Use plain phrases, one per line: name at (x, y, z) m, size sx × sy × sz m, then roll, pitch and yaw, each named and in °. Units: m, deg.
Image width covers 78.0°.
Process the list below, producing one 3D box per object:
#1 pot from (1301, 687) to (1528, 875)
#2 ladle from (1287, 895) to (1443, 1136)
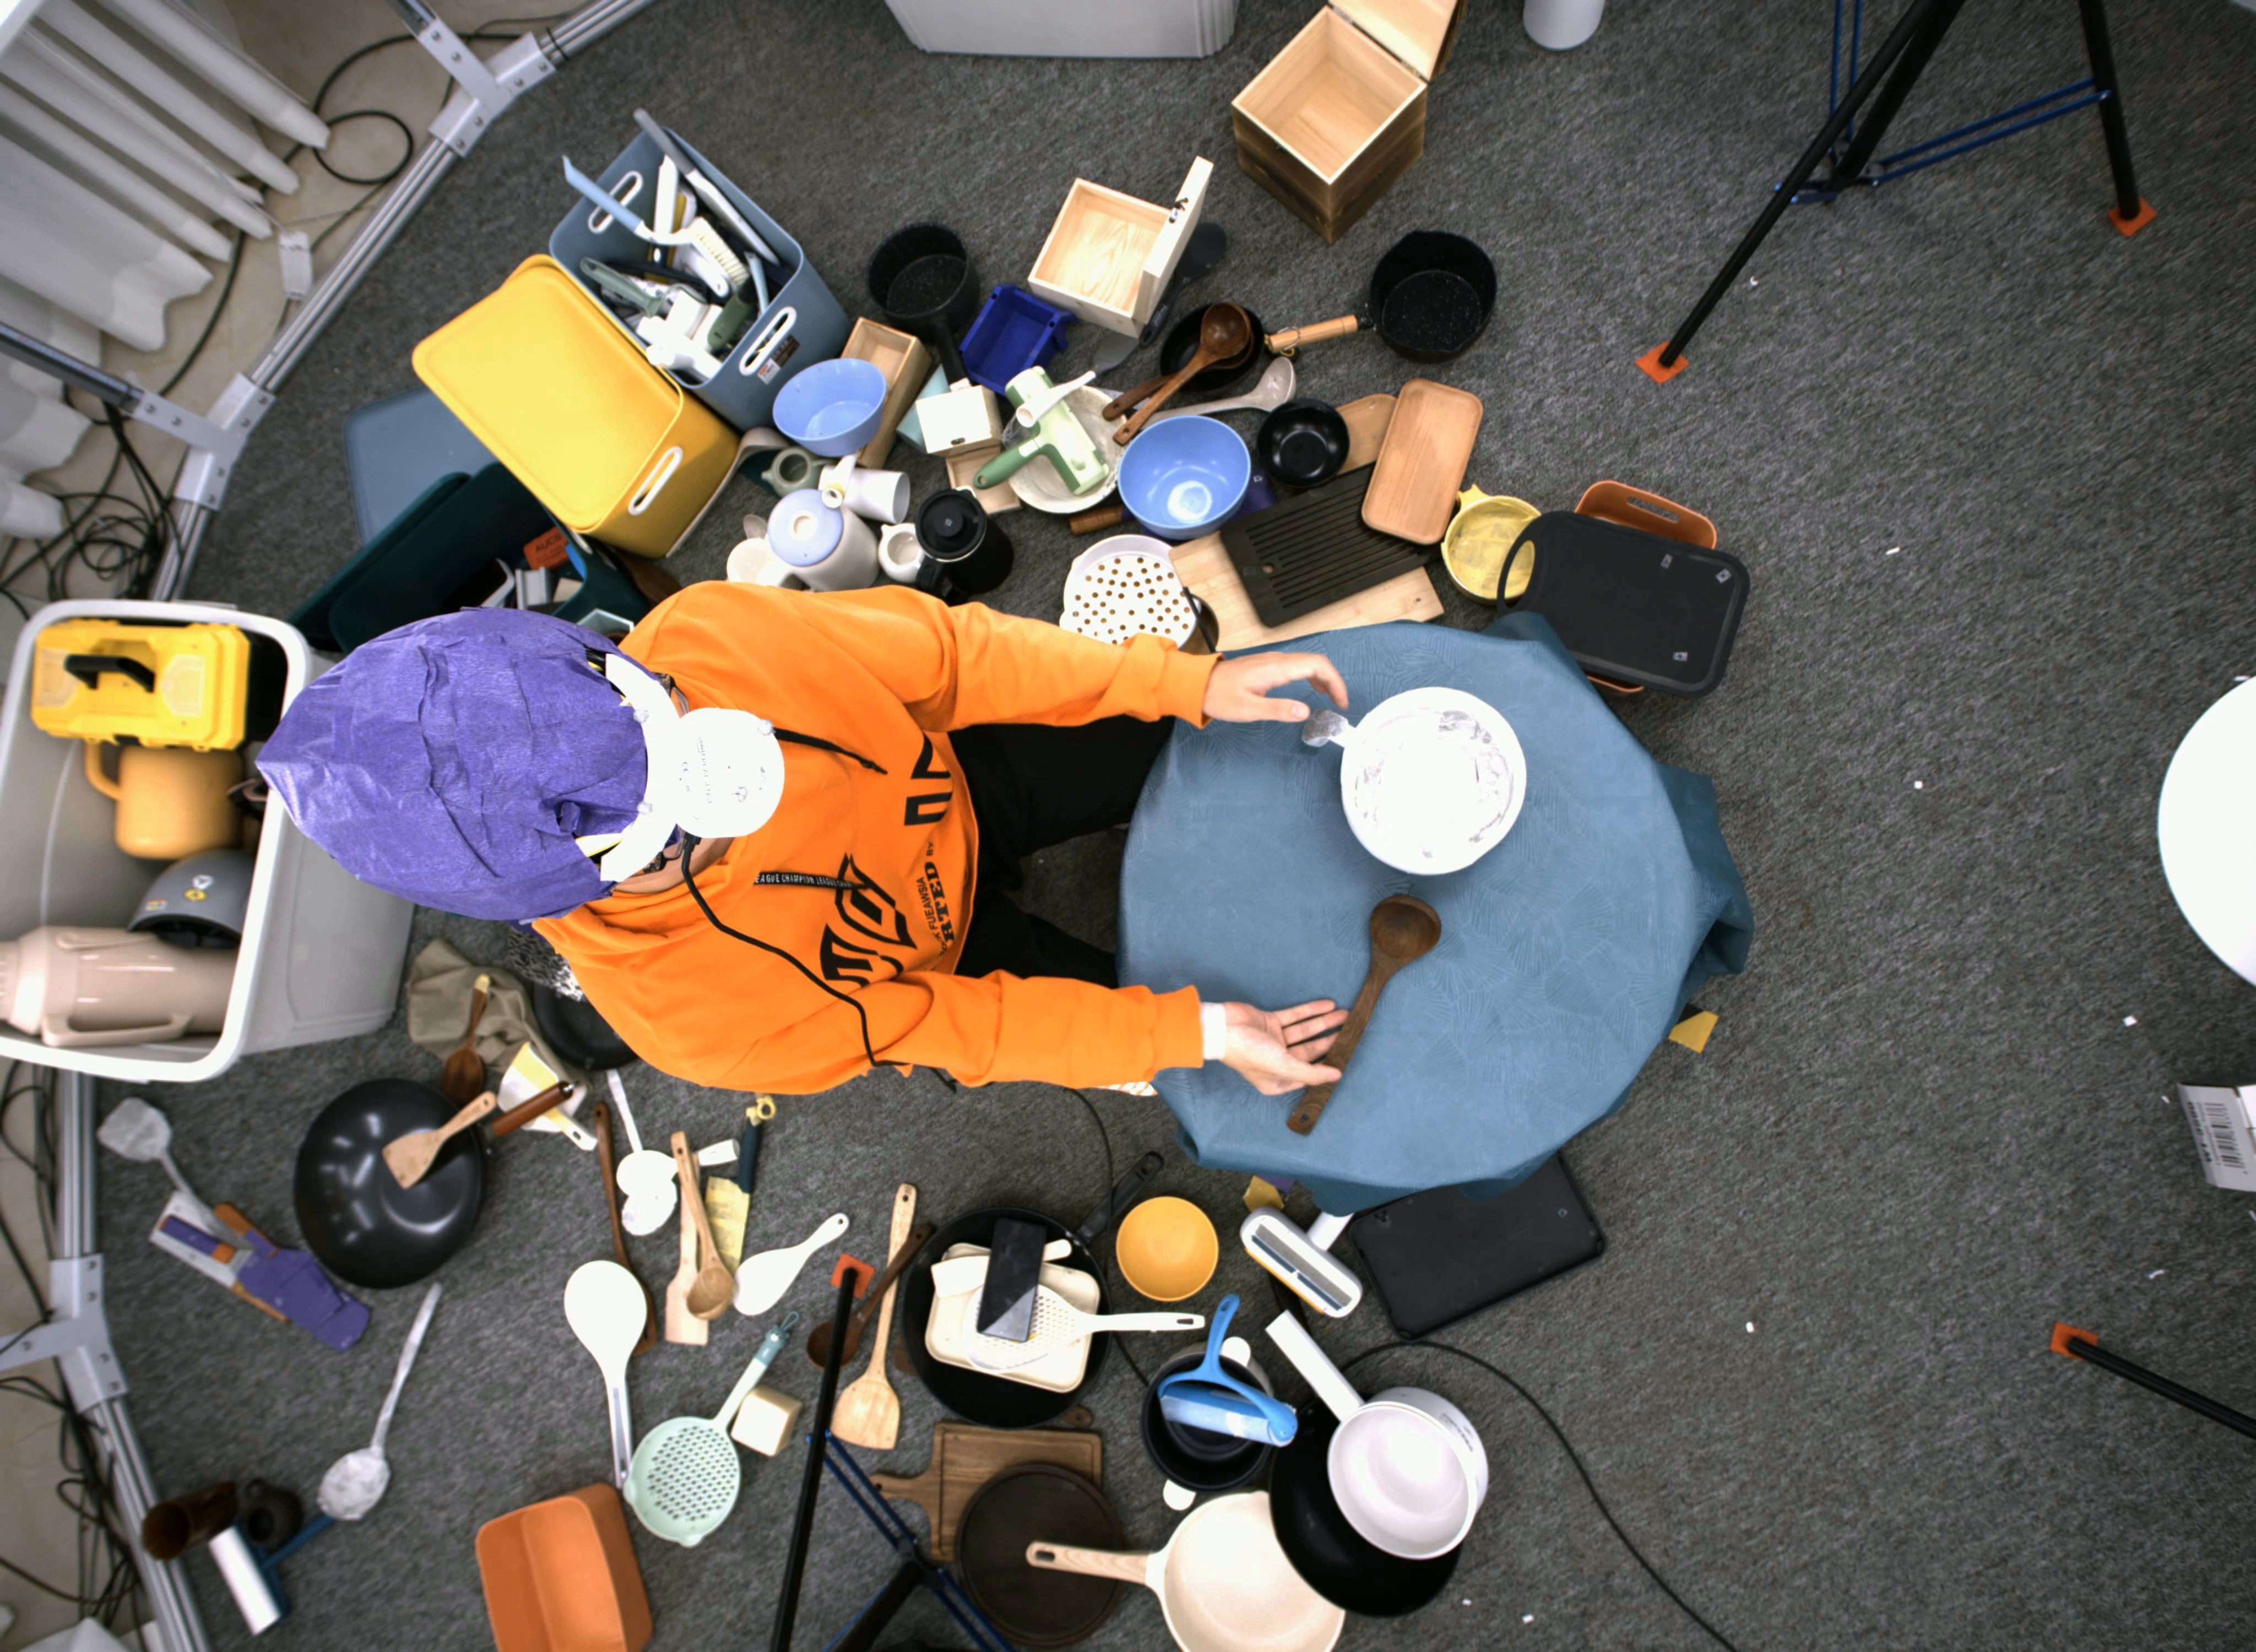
pot at (0.281, -0.055, 1.395) m, size 0.233 × 0.137 × 0.179 m, roll 28°, pitch 90°, yaw 10°
ladle at (0.236, 0.196, 1.424) m, size 0.076 × 0.071 × 0.274 m, roll 29°, pitch 91°, yaw 12°
